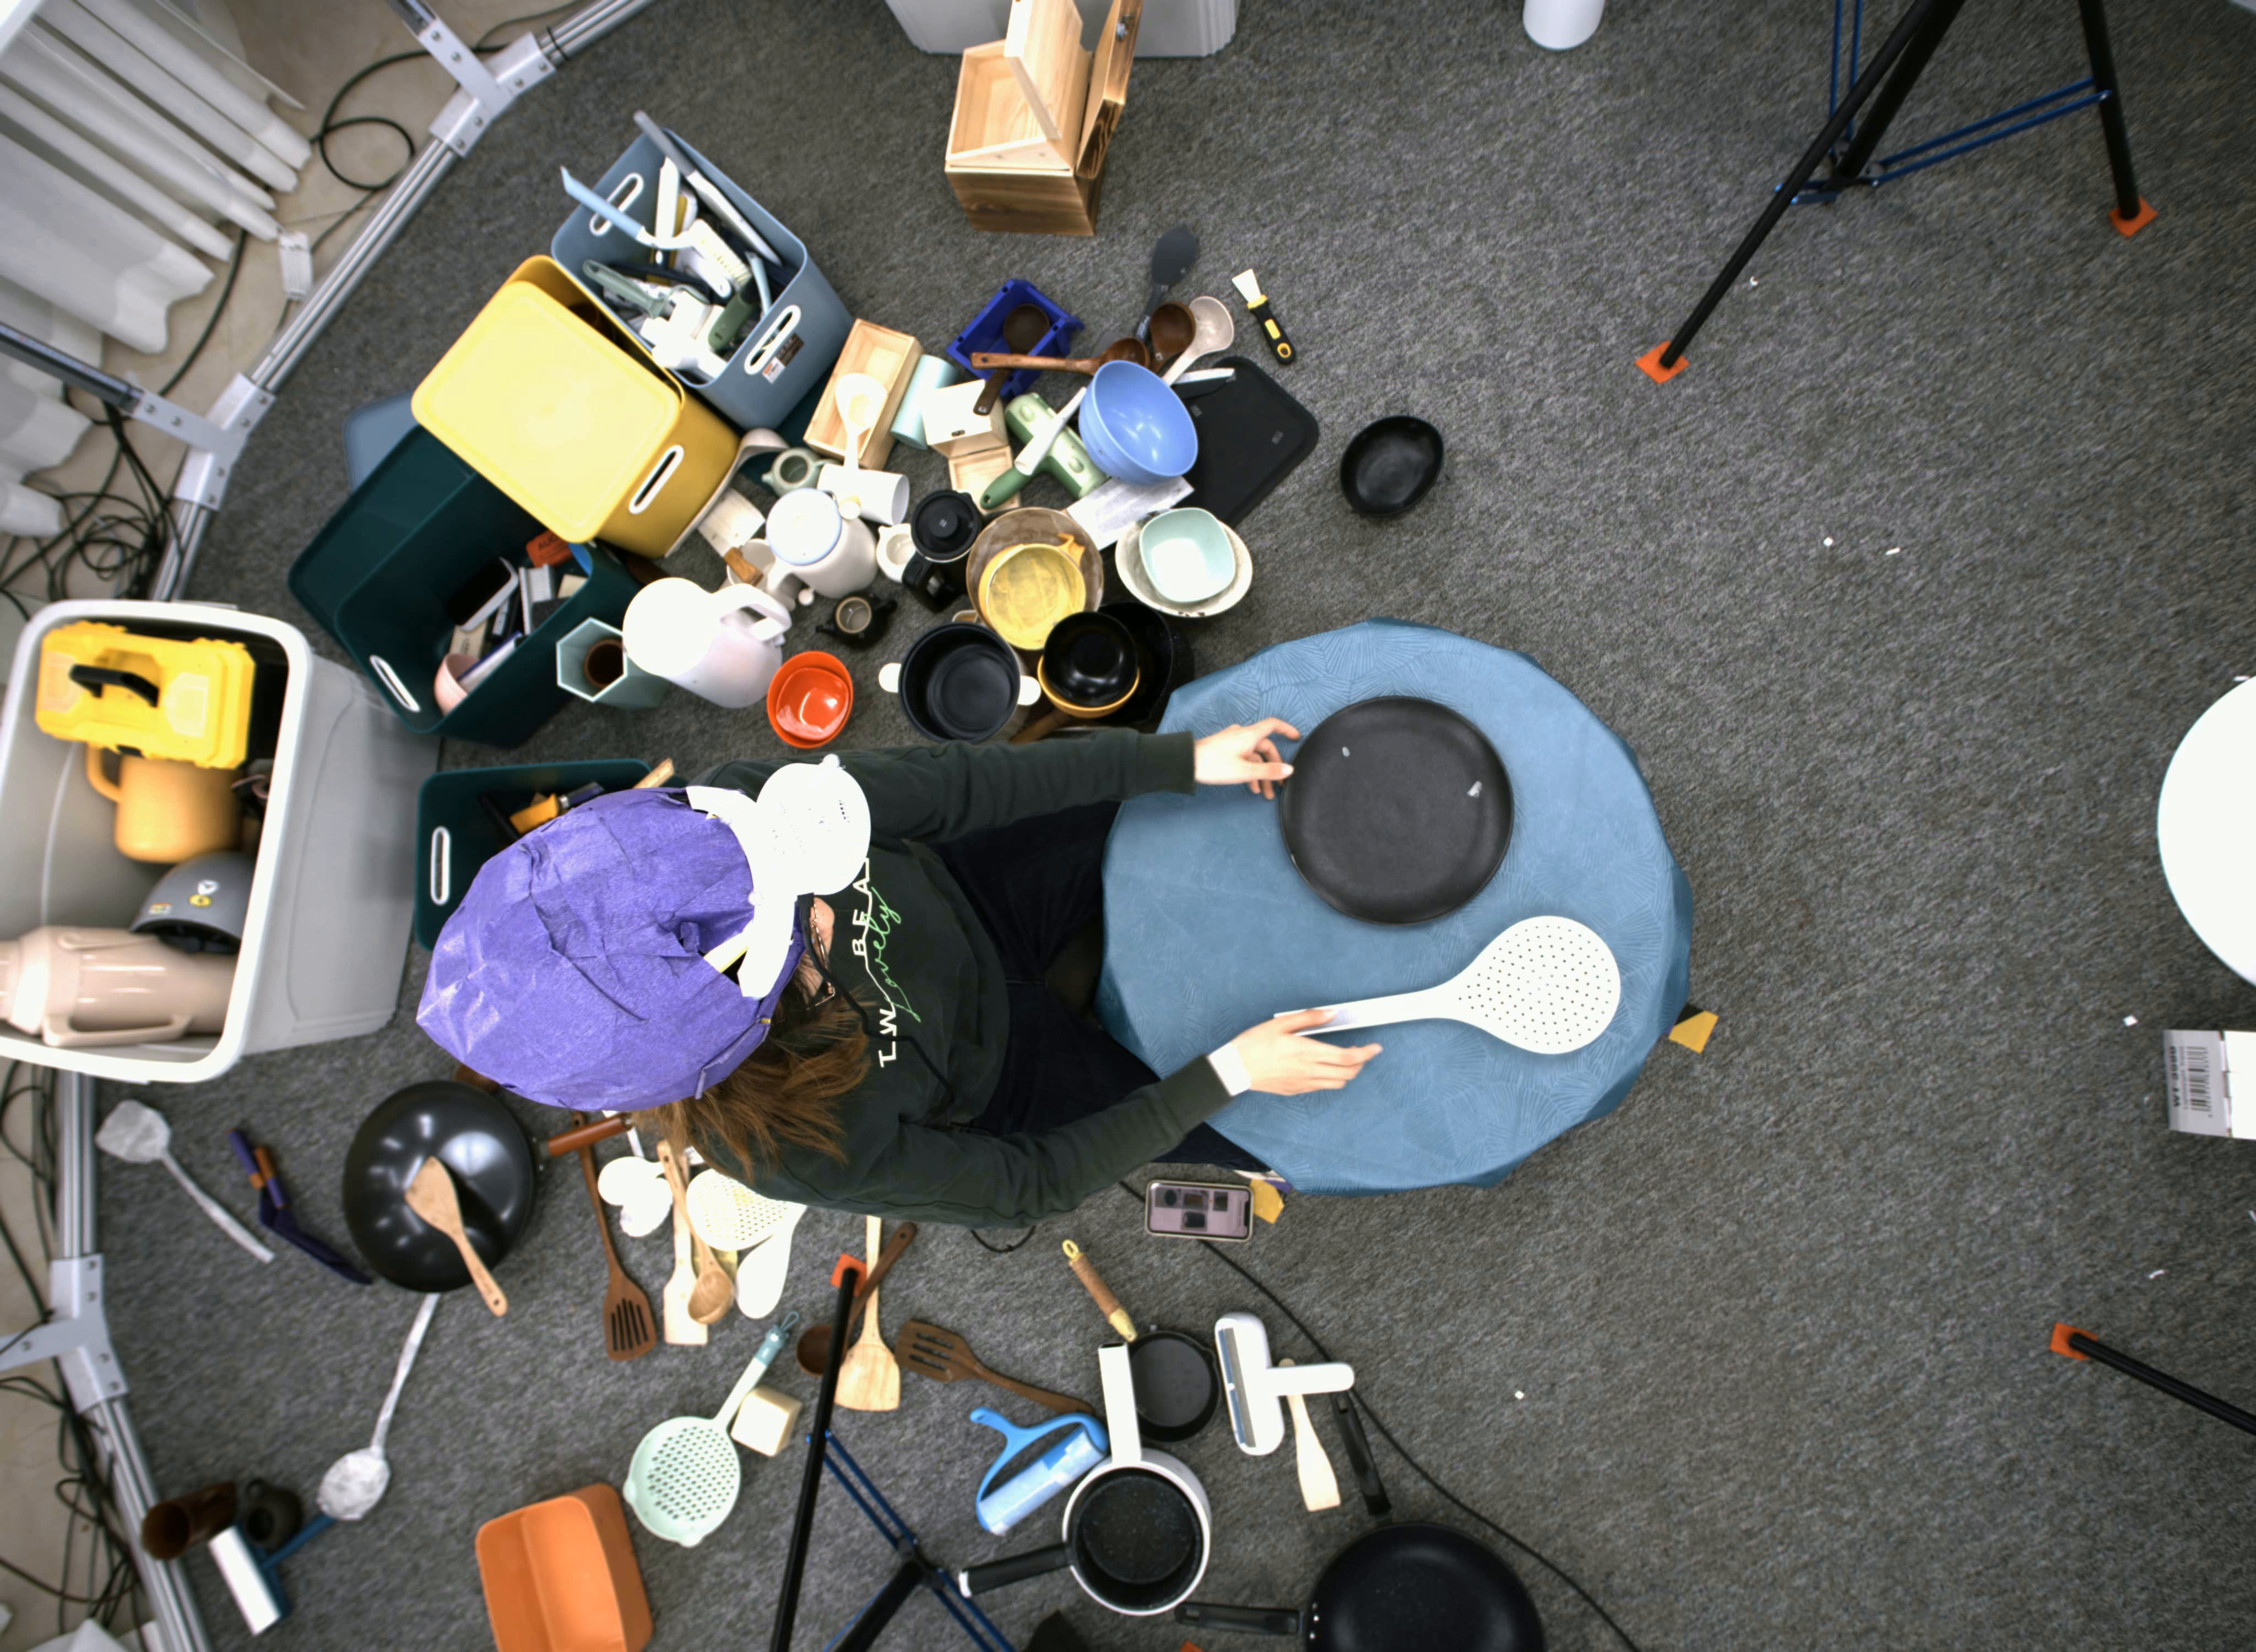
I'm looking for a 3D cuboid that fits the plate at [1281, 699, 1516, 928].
[{"bbox_3d":[0.284,-0.014,1.456,0.245,0.023,0.243,-1,86,10],"label":"plate"}]

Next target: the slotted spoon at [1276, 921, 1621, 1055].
[{"bbox_3d":[0.326,0.182,1.424,0.351,0.046,0.135,-10,82,10],"label":"slotted spoon"}]
